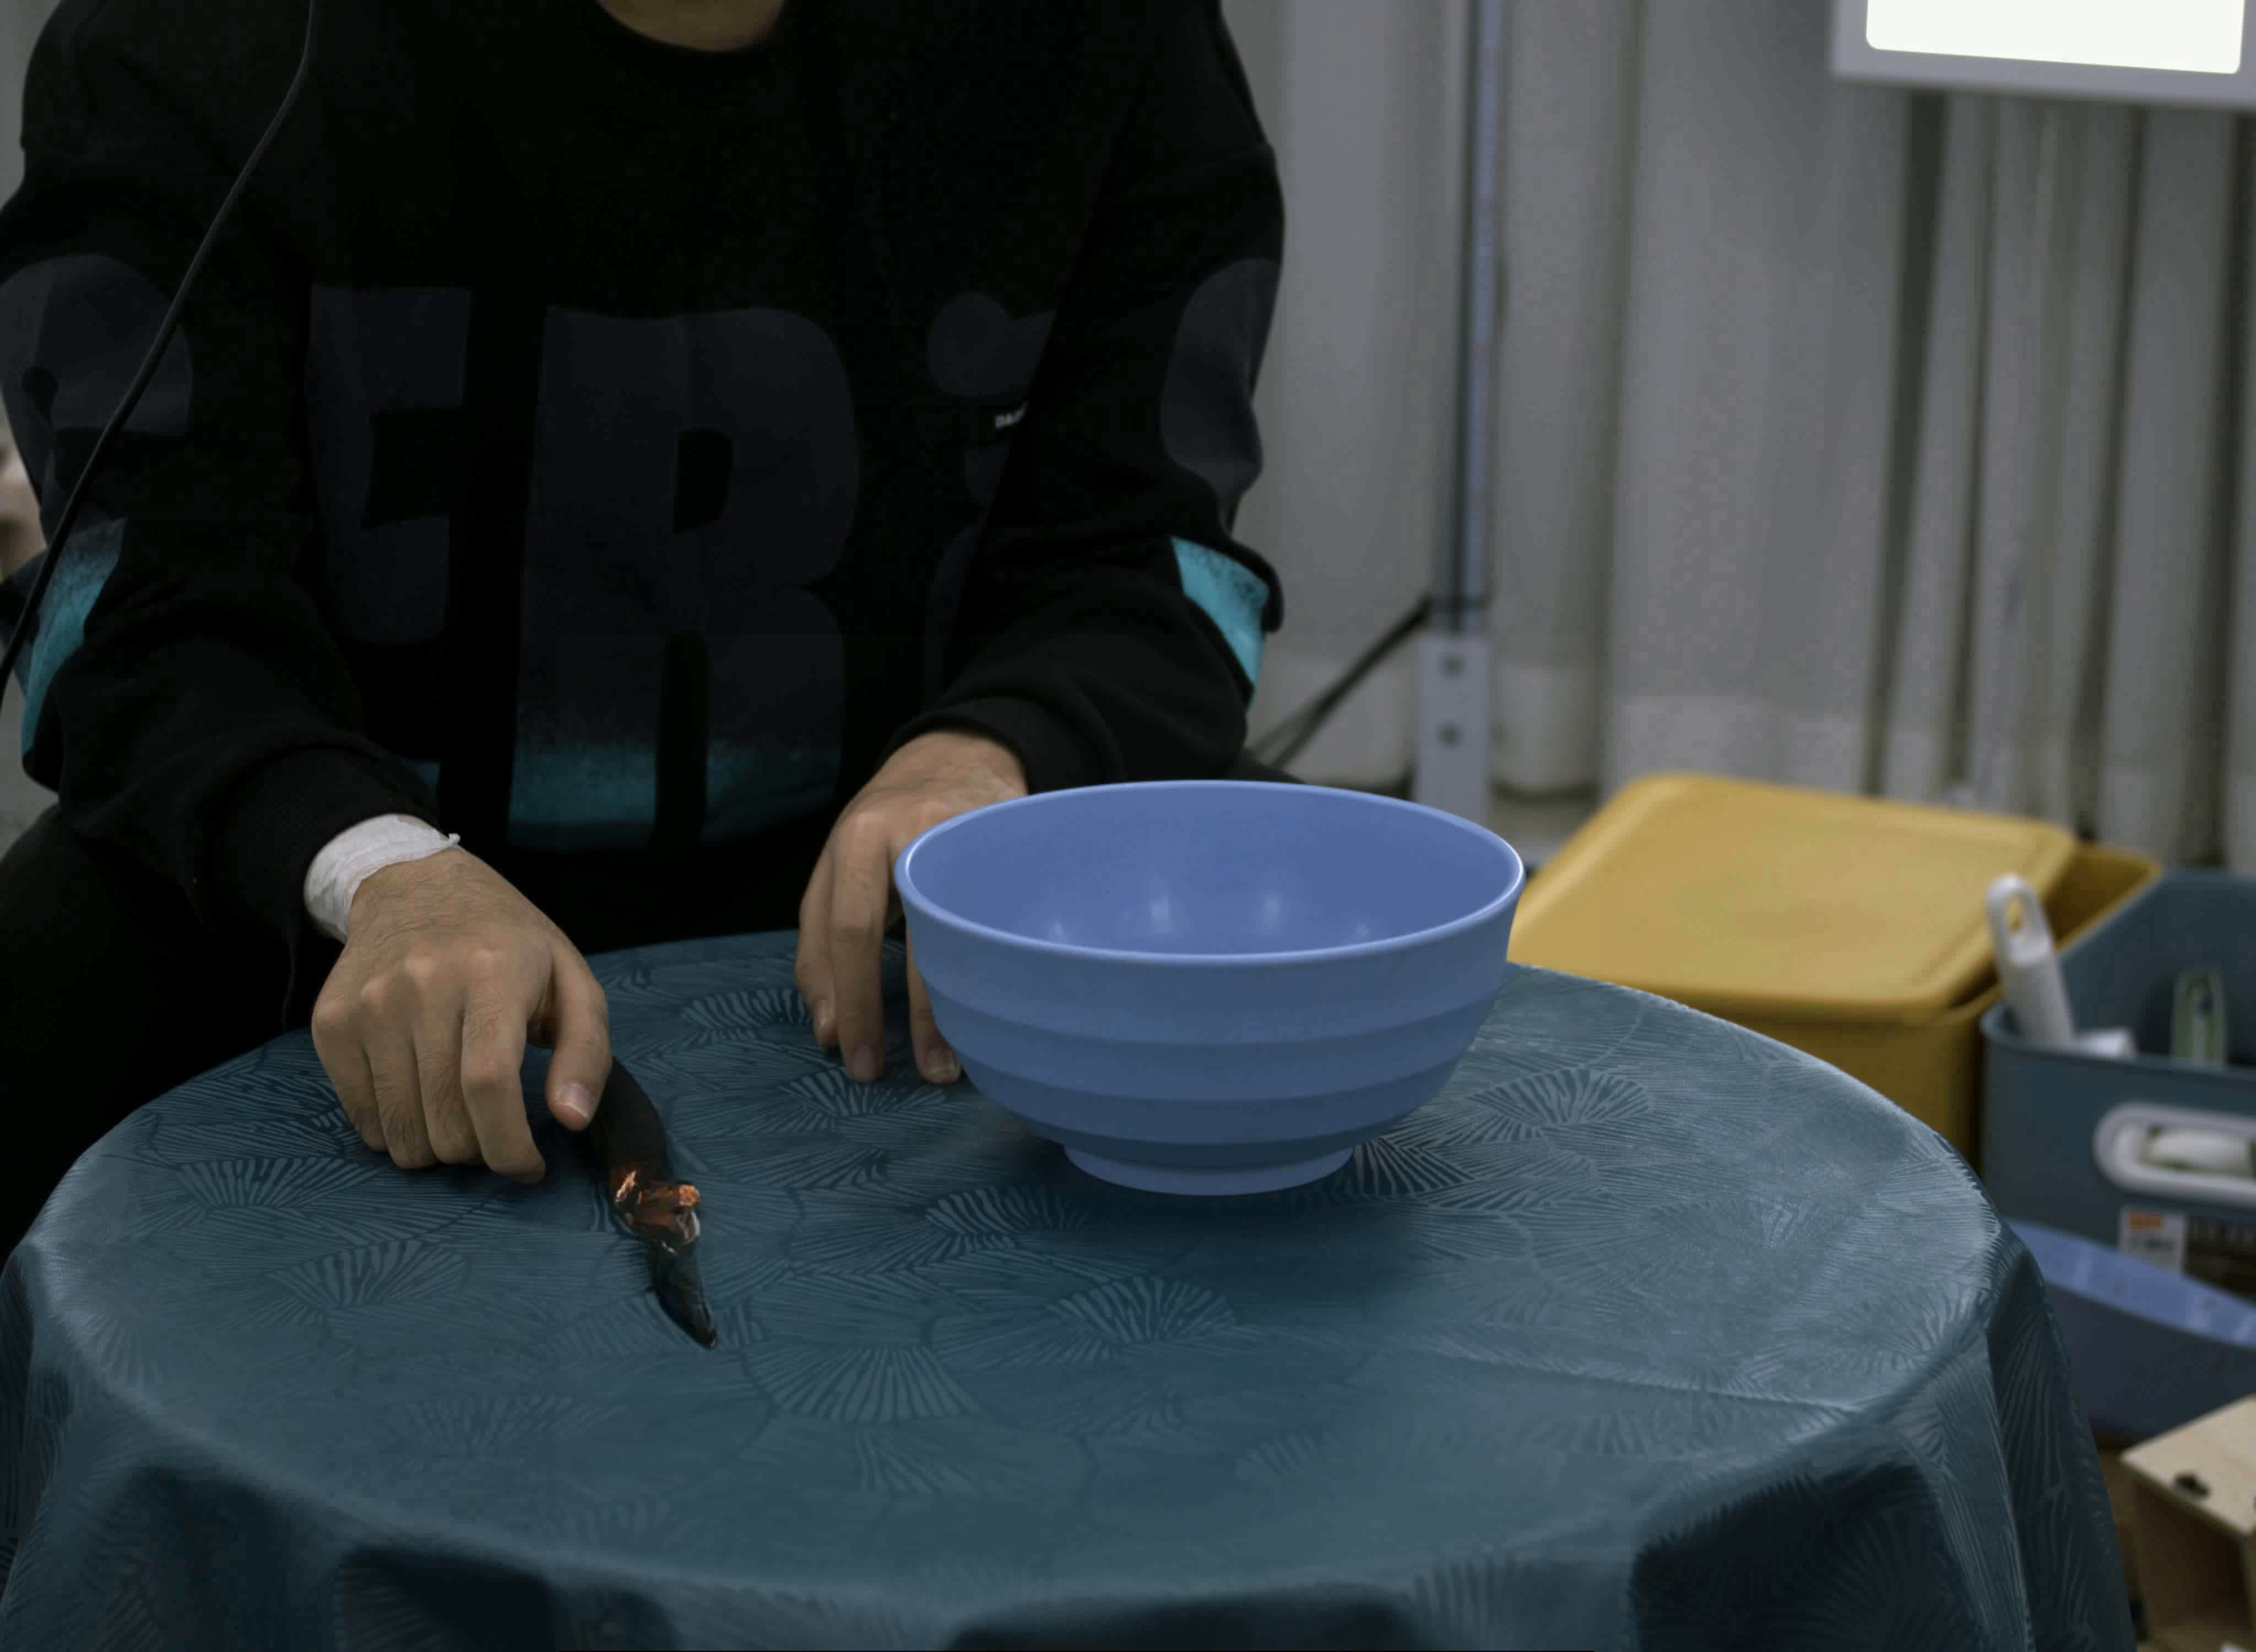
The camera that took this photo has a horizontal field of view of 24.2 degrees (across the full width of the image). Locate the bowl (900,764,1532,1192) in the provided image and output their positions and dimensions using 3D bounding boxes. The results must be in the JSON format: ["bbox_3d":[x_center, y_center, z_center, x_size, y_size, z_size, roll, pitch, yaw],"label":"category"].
[{"bbox_3d":[0.026,0.054,1.646,0.196,0.096,0.195,2,18,0],"label":"bowl"}]

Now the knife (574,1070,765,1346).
[{"bbox_3d":[-0.141,0.114,1.591,0.026,0.017,0.223,1,16,-17],"label":"knife"}]
